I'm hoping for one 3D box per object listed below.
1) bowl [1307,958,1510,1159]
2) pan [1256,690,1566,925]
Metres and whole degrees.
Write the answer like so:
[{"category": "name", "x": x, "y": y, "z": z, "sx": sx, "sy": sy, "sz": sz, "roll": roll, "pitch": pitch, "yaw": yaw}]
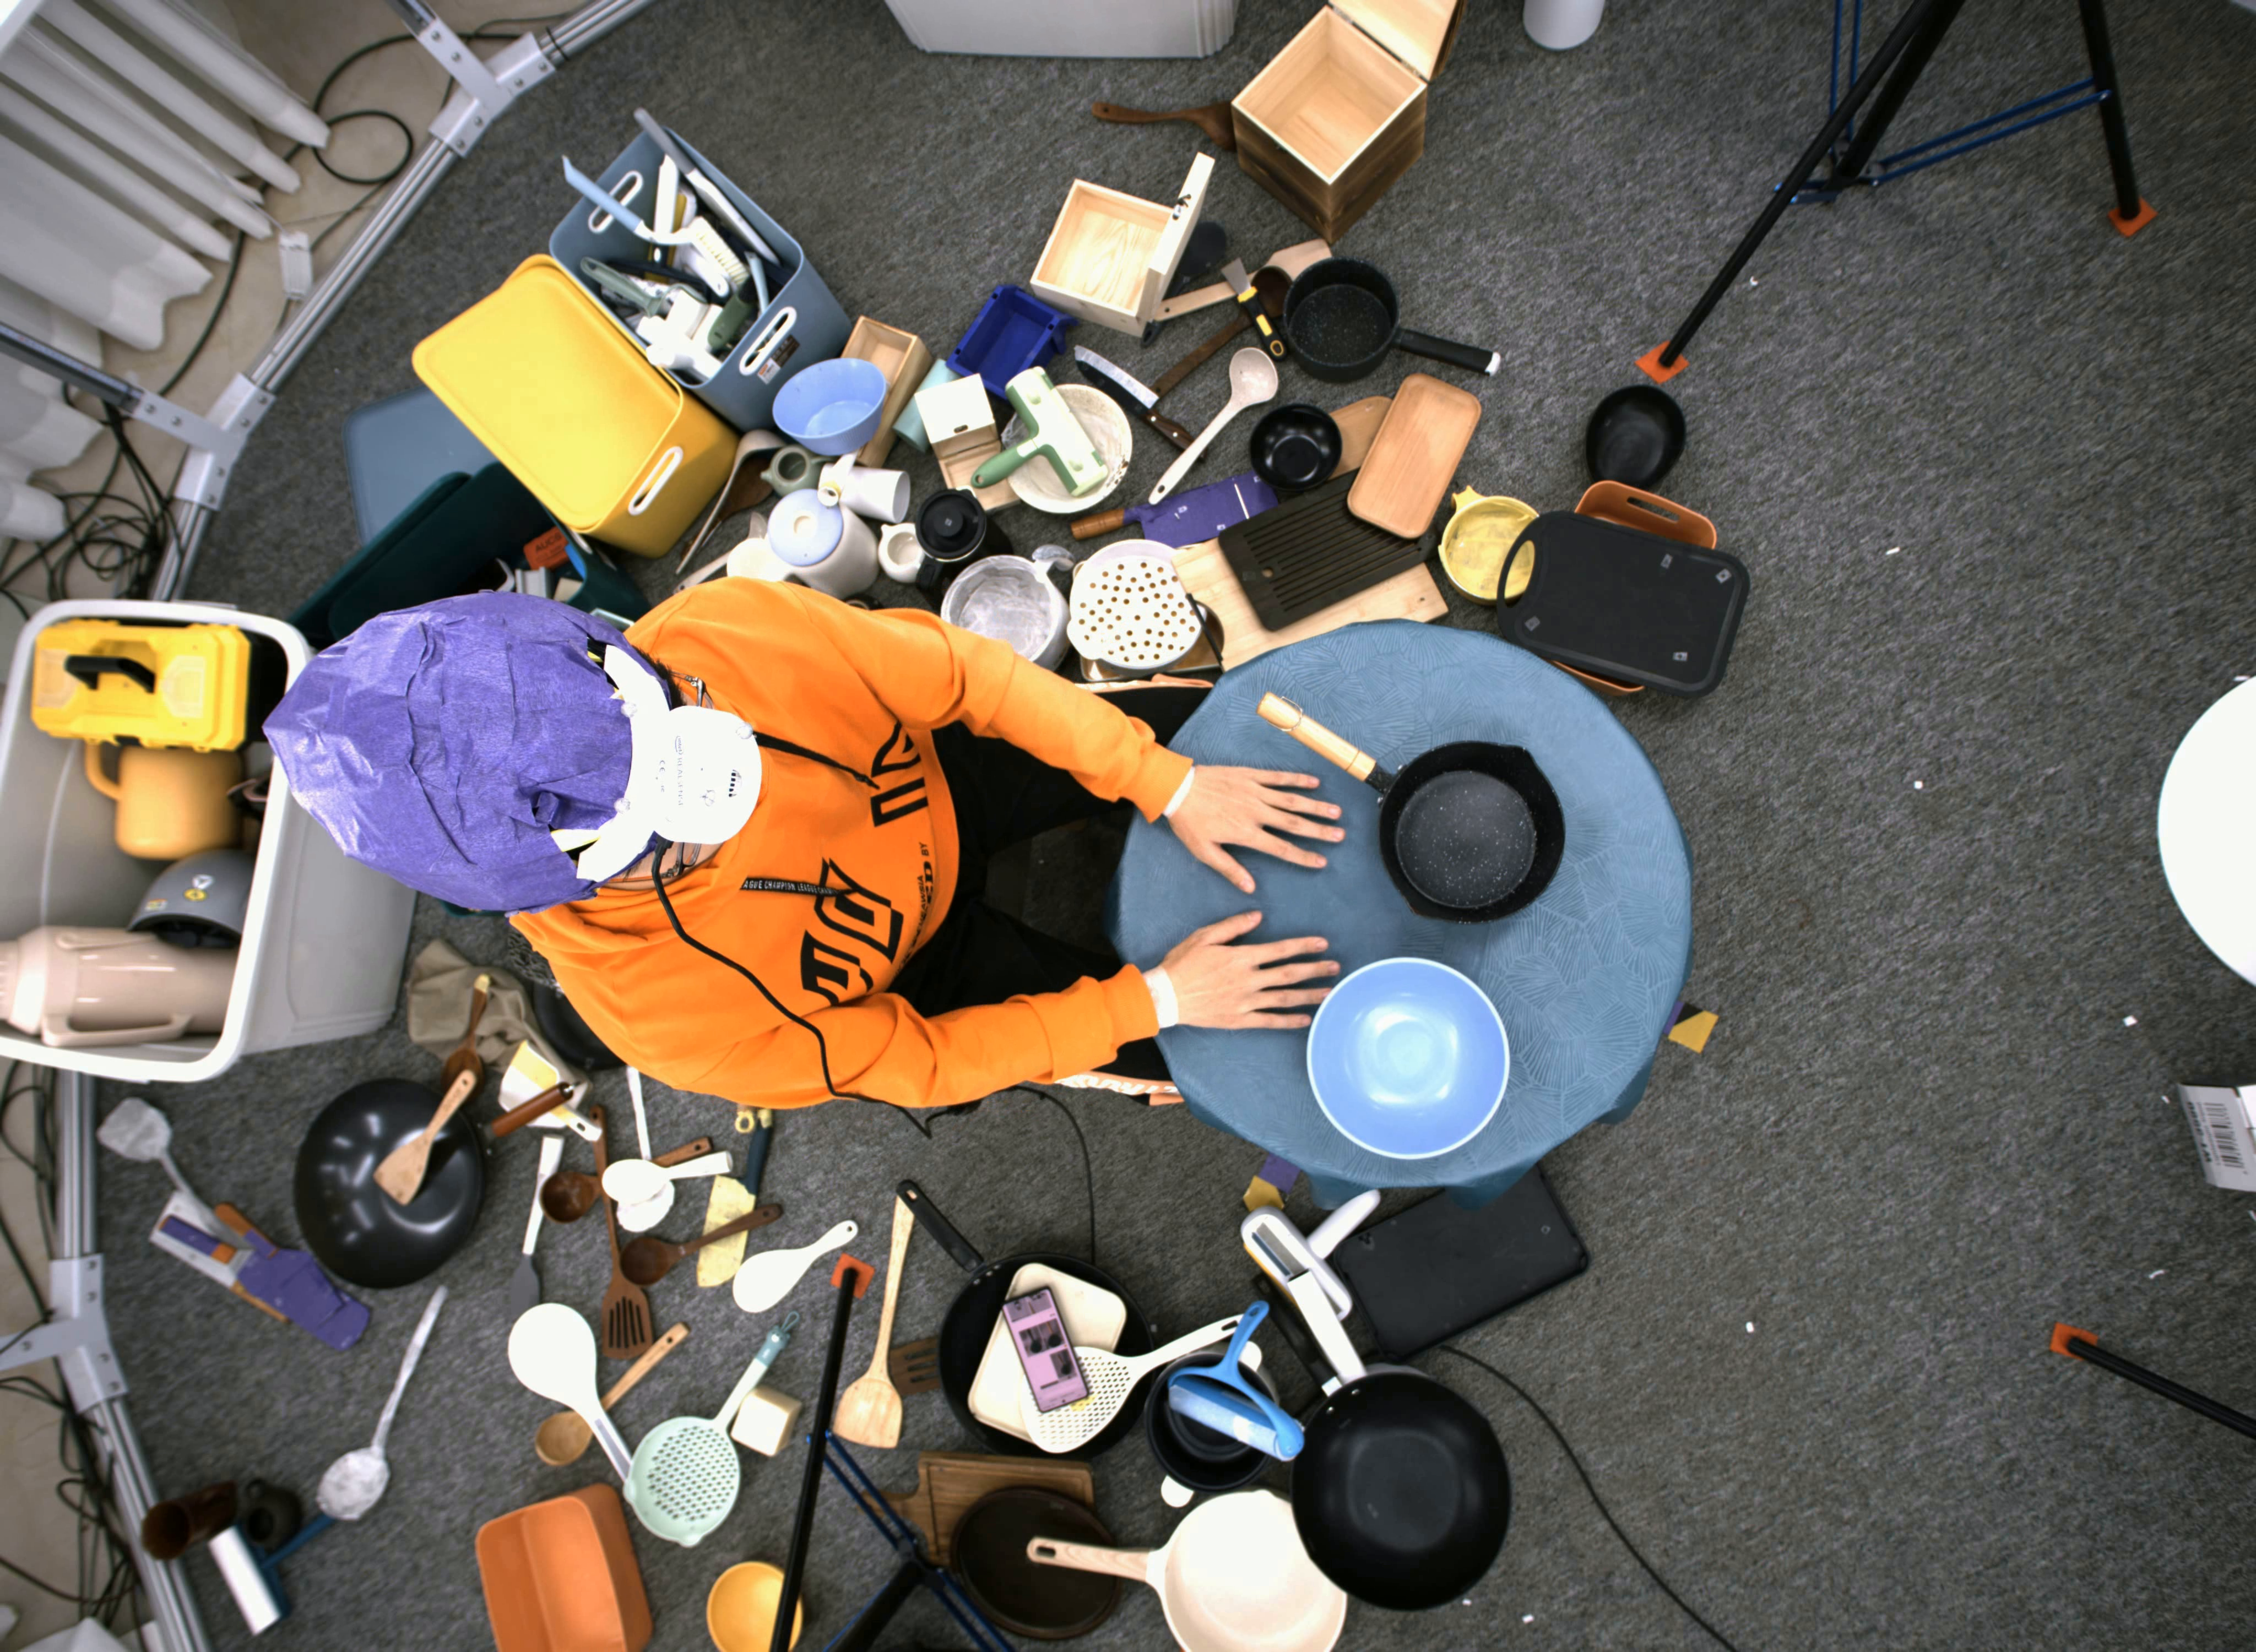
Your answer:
[{"category": "bowl", "x": 0.282, "y": 0.230, "z": 1.400, "sx": 0.197, "sy": 0.095, "sz": 0.196, "roll": -1, "pitch": 87, "yaw": 10}, {"category": "pan", "x": 0.279, "y": -0.034, "z": 1.409, "sx": 0.342, "sy": 0.108, "sz": 0.208, "roll": 32, "pitch": 93, "yaw": 9}]
